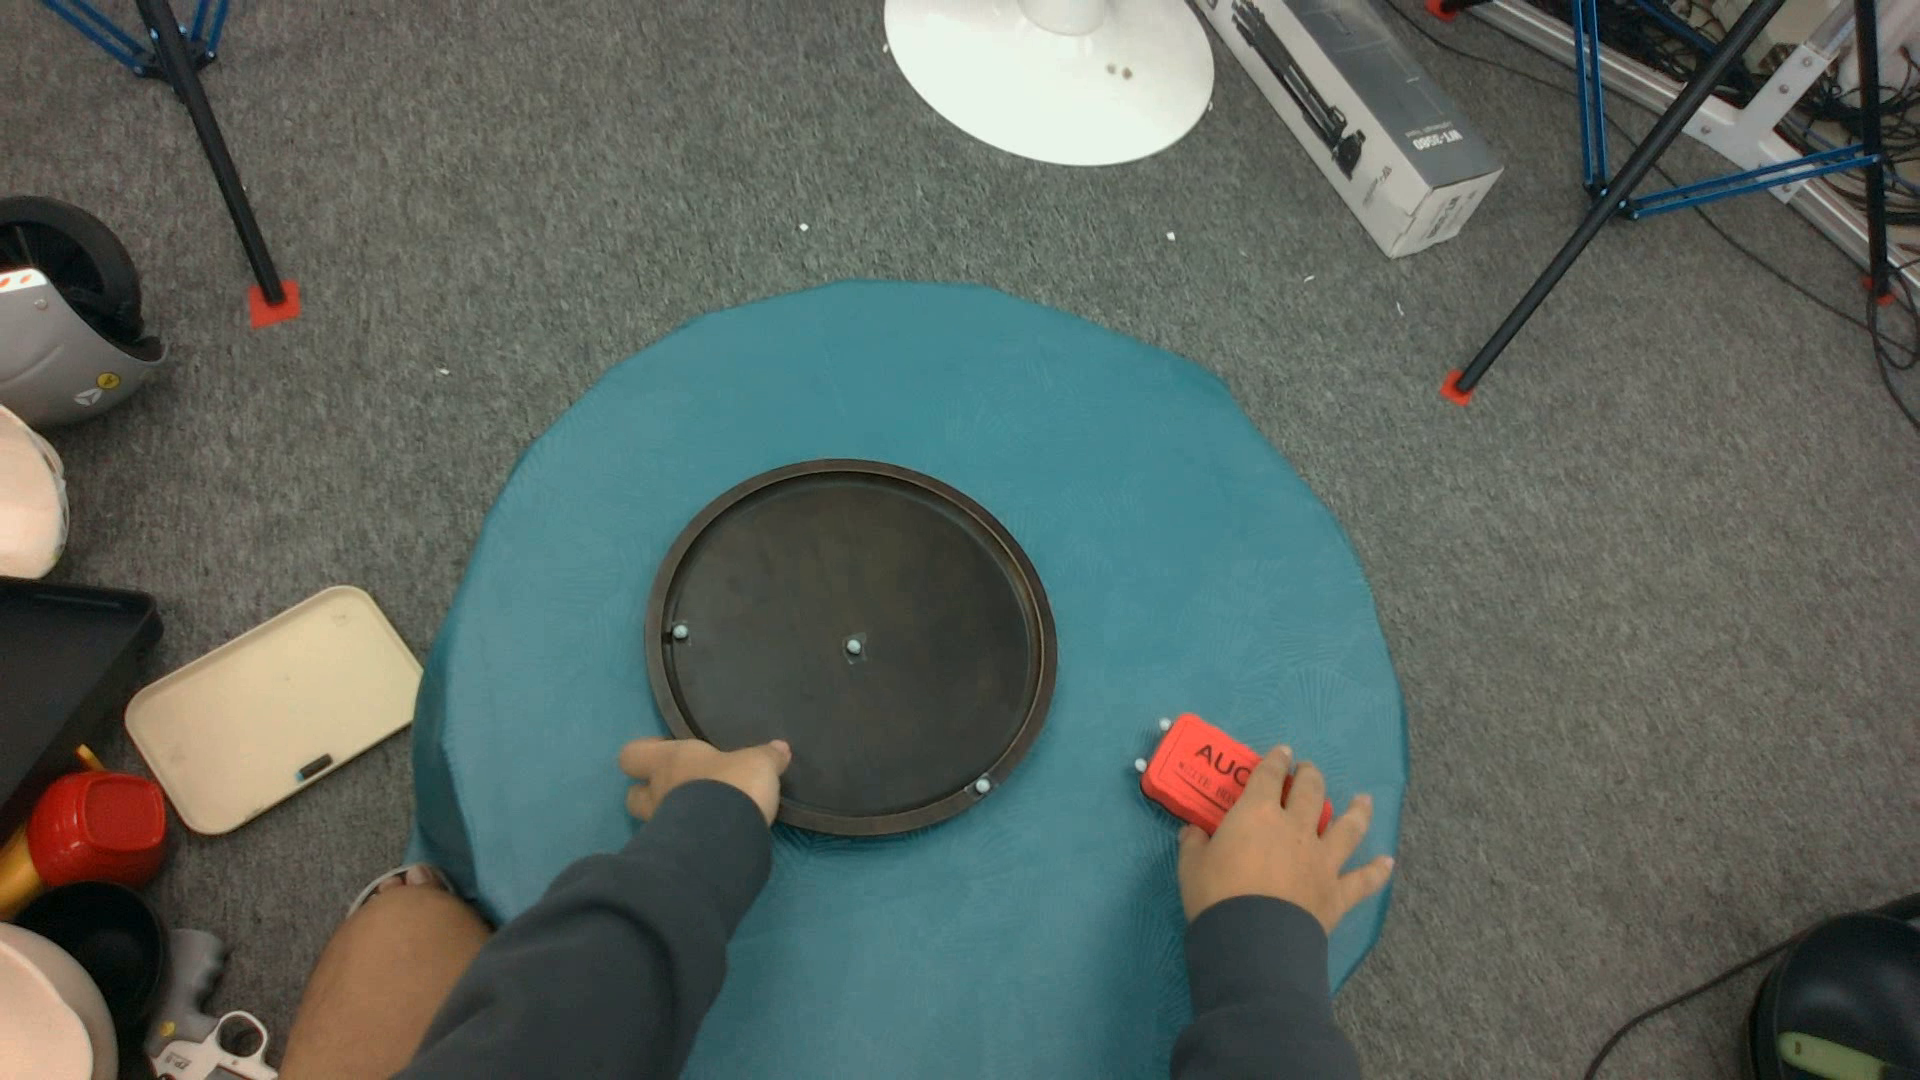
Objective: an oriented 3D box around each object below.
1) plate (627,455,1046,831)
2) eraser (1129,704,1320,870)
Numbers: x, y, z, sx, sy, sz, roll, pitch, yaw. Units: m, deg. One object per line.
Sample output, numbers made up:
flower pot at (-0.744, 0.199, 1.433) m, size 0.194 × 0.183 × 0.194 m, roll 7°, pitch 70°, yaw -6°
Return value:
plate at (-0.072, 0.057, 0.840) m, size 0.255 × 0.029 × 0.256 m, roll 7°, pitch 59°, yaw -11°
eraser at (0.160, 0.148, 0.834) m, size 0.108 × 0.023 × 0.059 m, roll 31°, pitch 53°, yaw 6°
